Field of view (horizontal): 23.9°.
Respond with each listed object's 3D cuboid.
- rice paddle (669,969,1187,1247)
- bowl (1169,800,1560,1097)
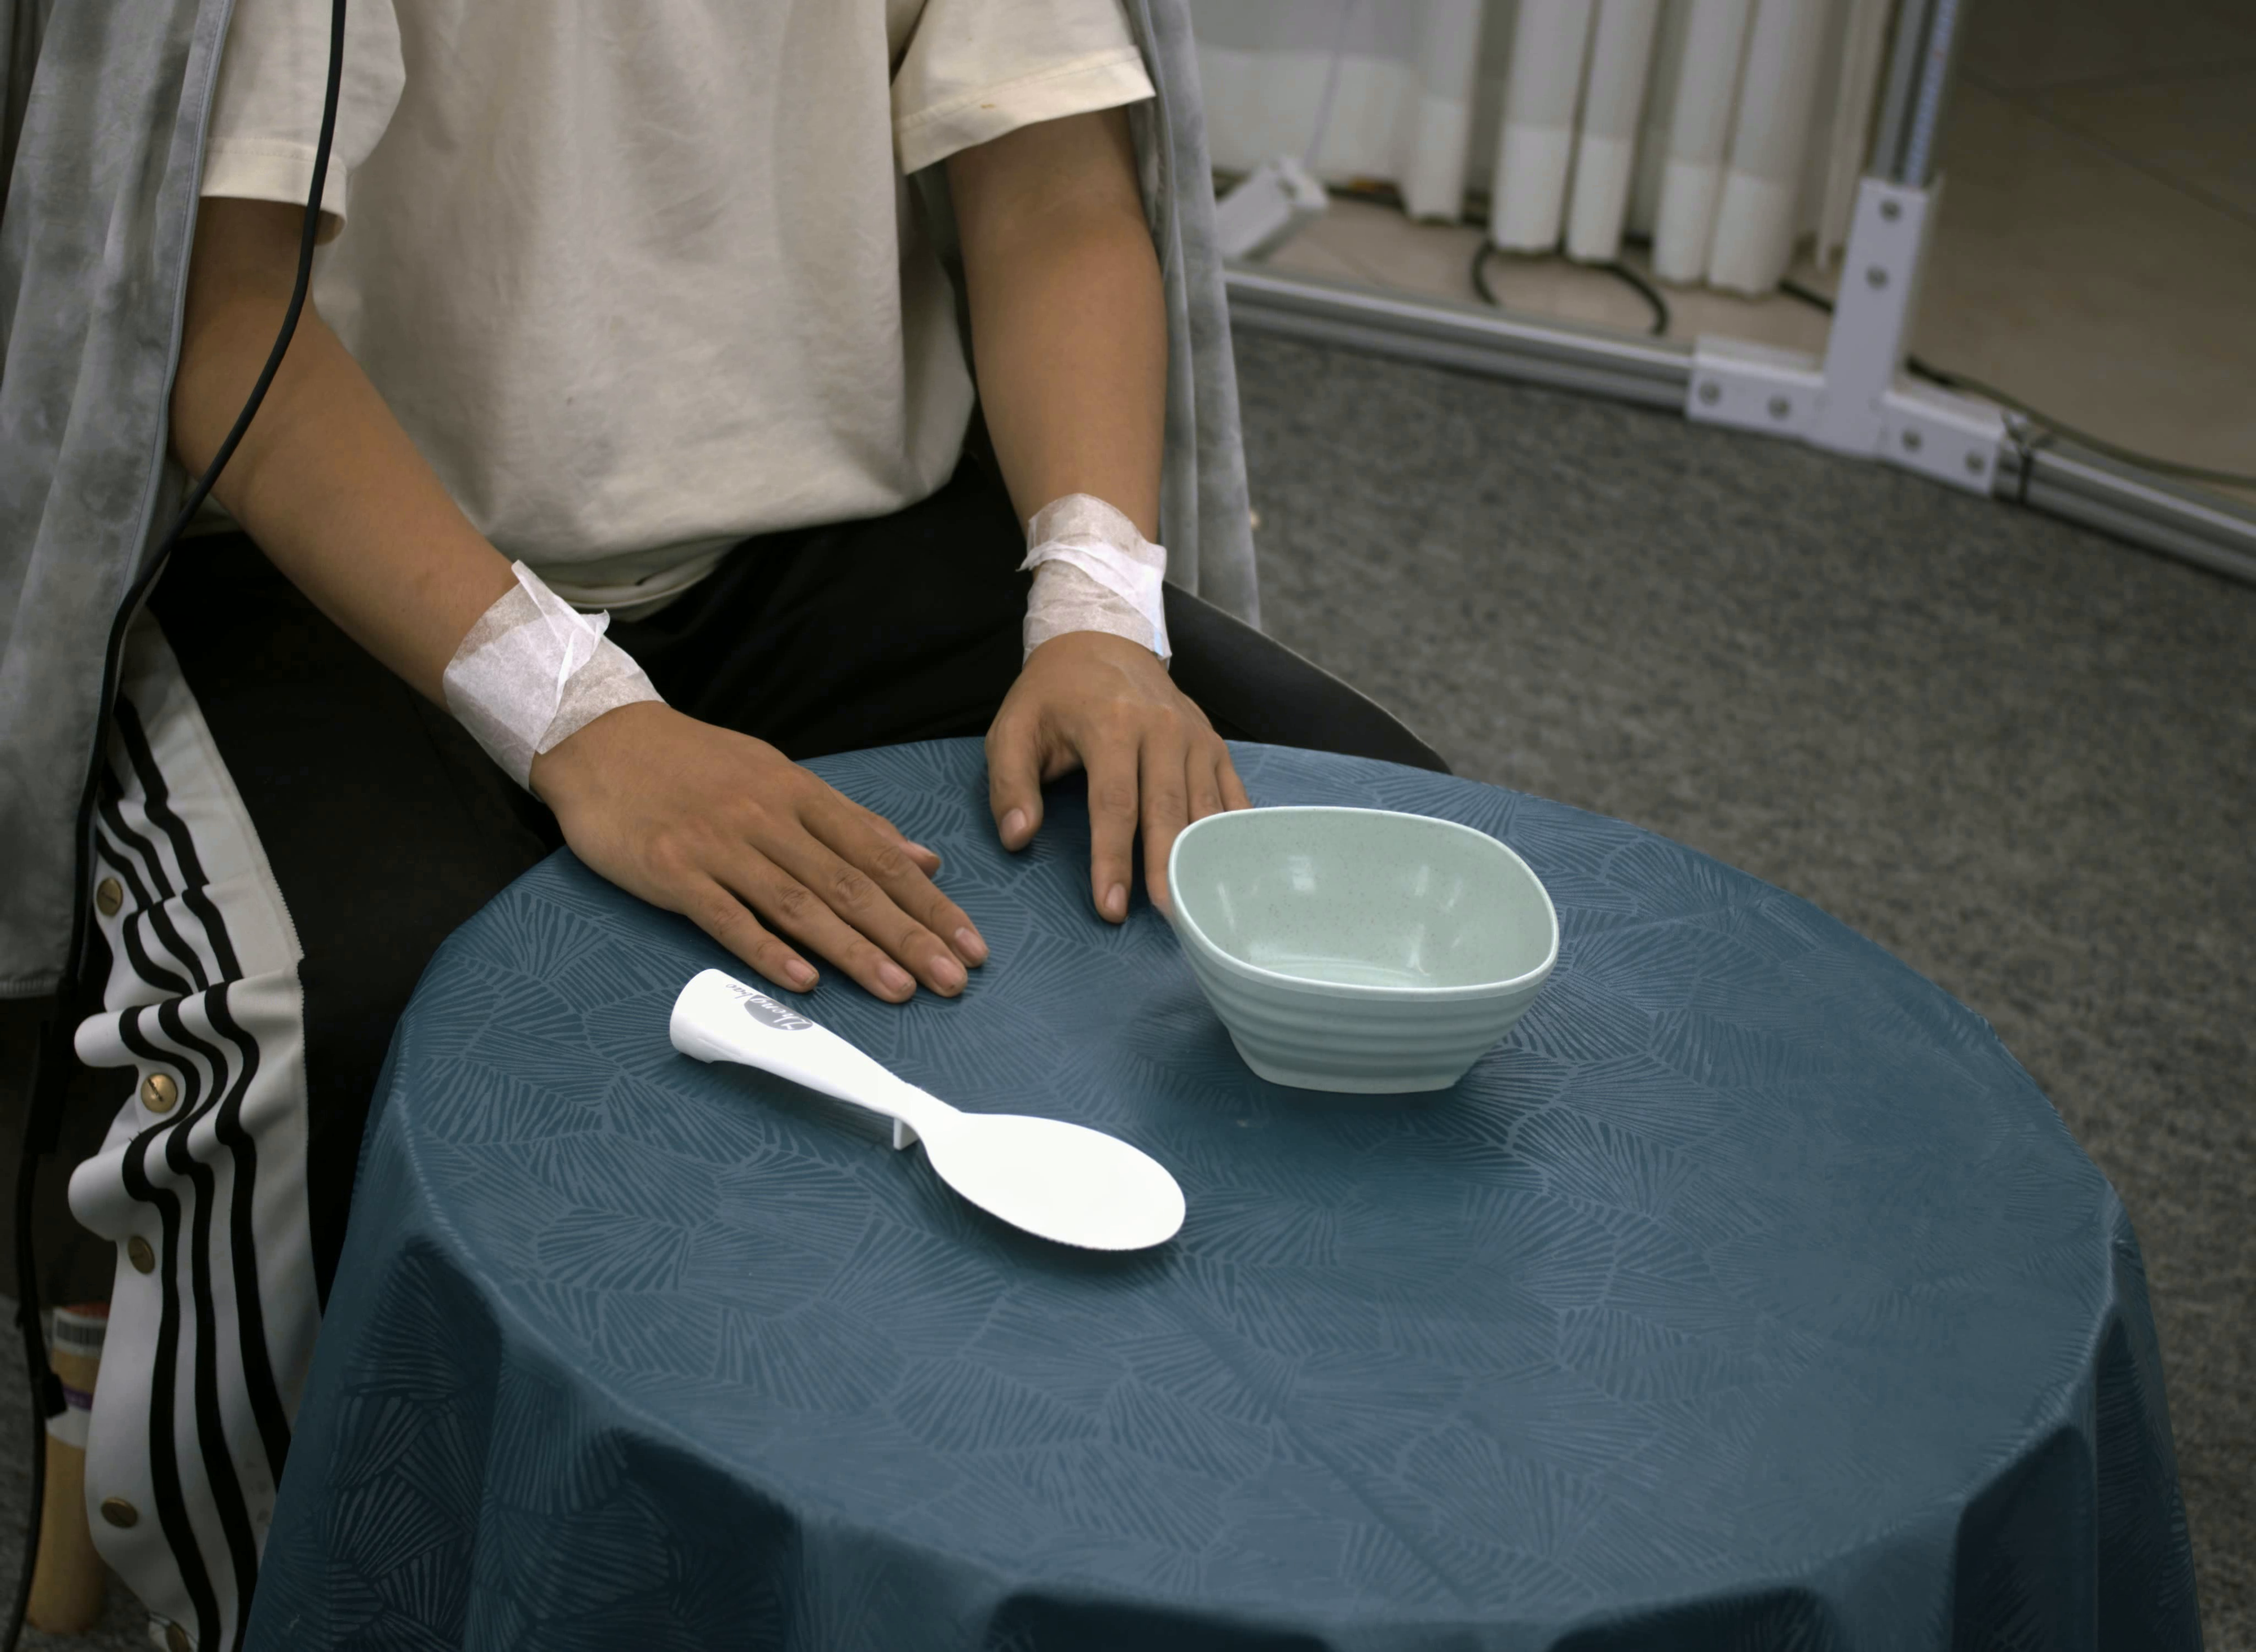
[{"bbox_3d":[-0.068,0.097,1.808,0.206,0.029,0.068,23,33,29],"label":"rice paddle"},{"bbox_3d":[0.081,0.050,1.906,0.151,0.058,0.152,5,29,-3],"label":"bowl"}]
